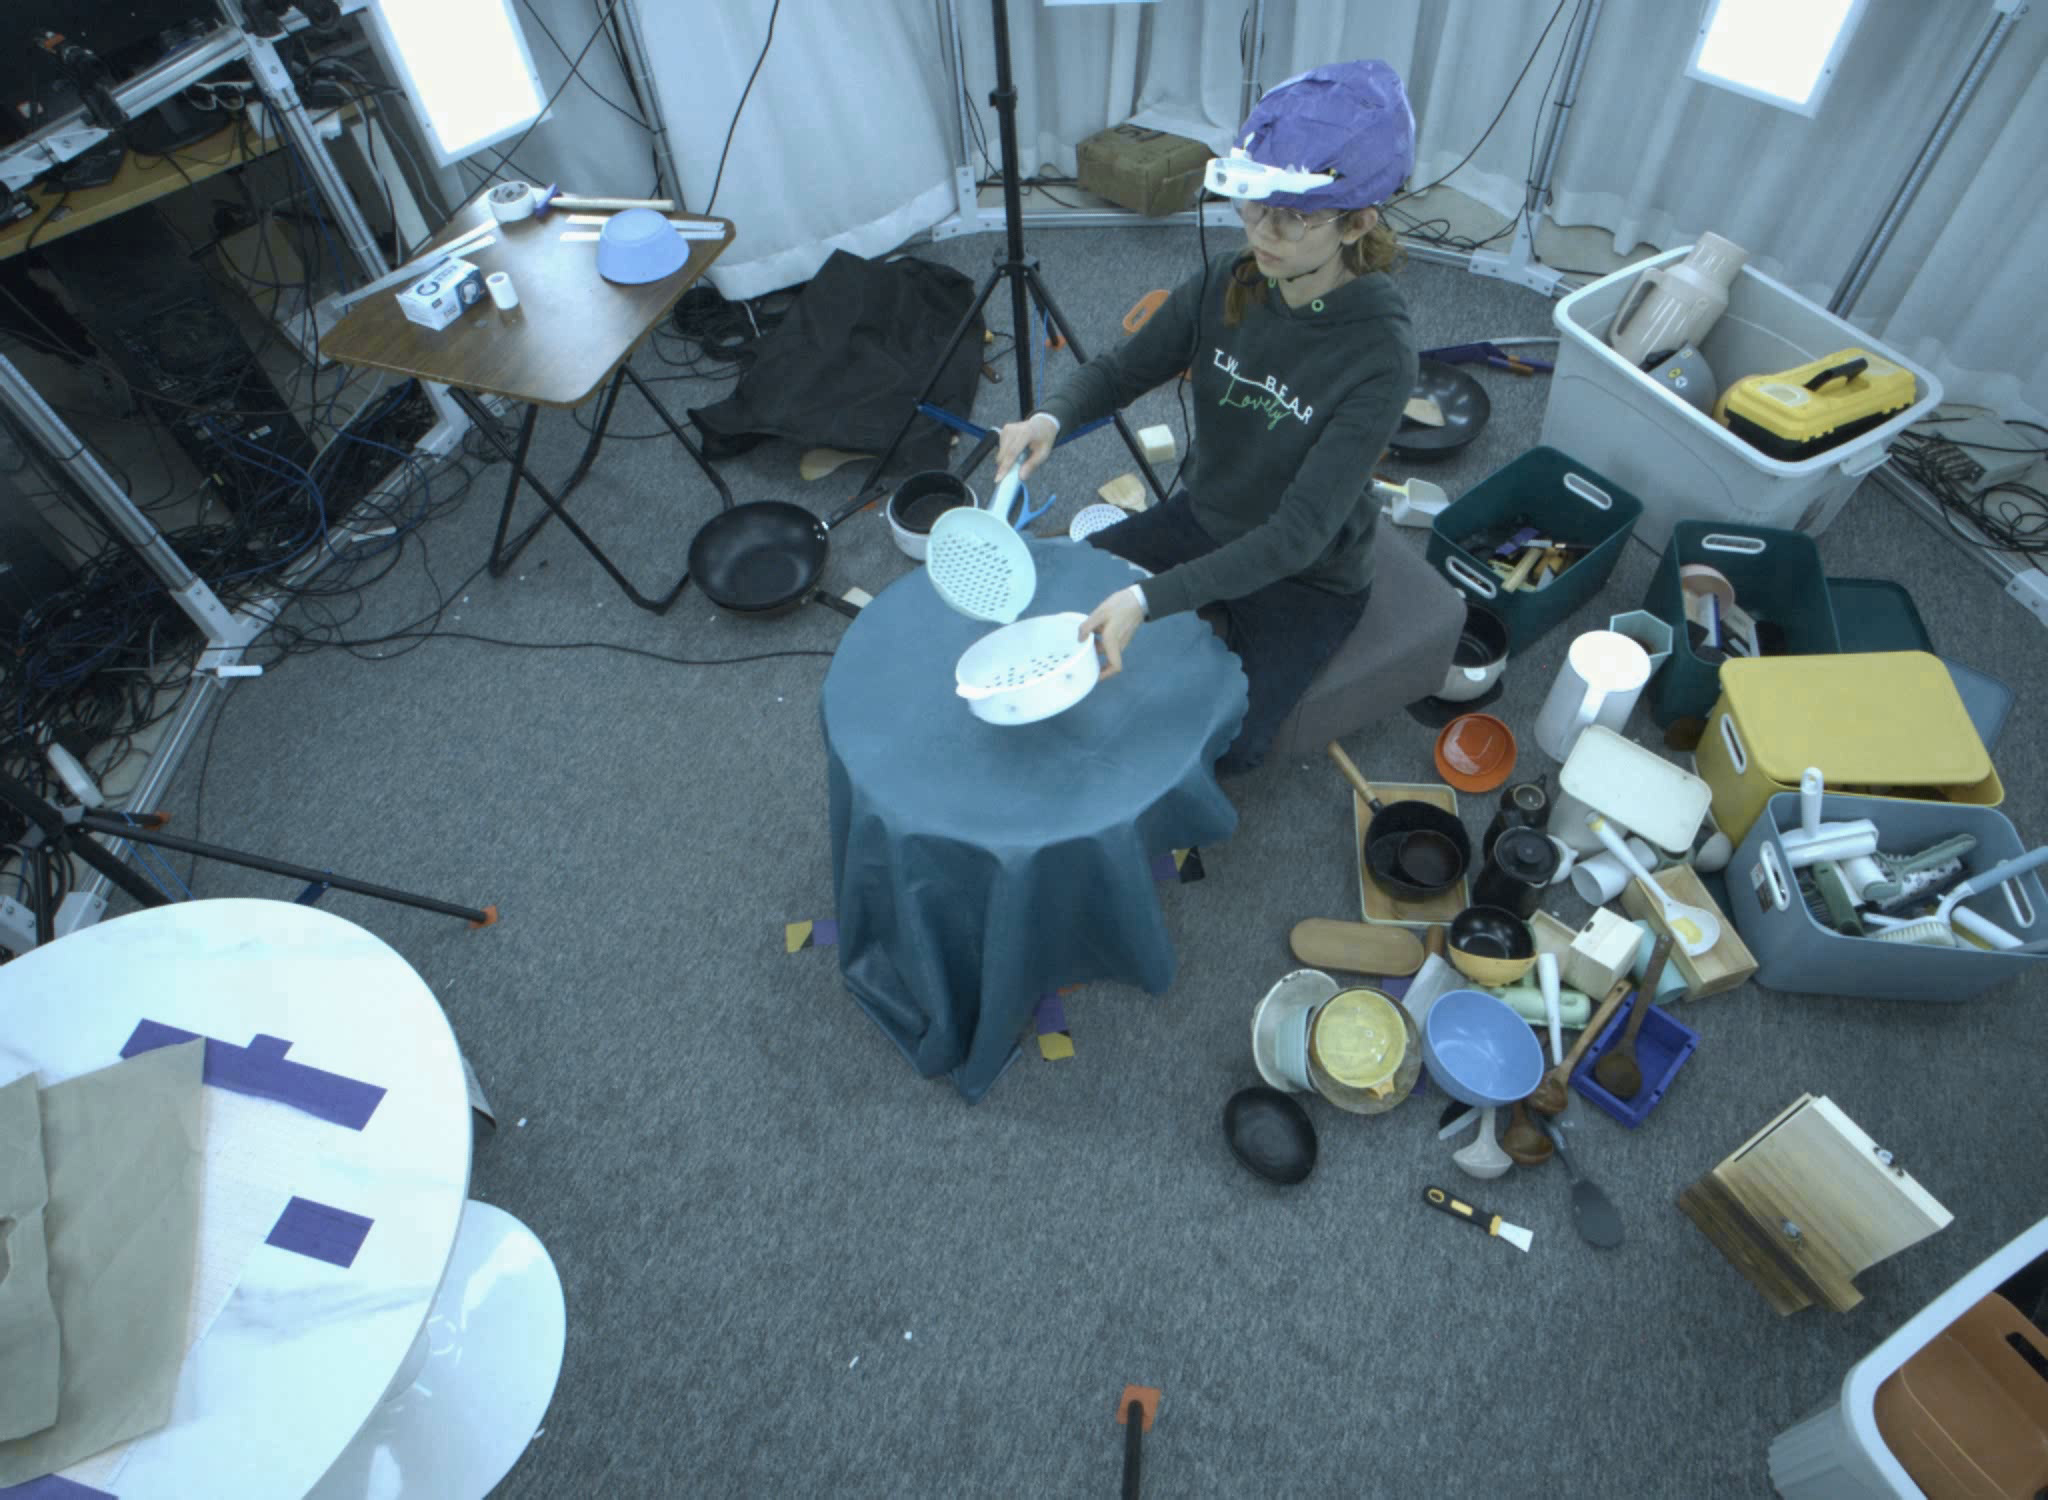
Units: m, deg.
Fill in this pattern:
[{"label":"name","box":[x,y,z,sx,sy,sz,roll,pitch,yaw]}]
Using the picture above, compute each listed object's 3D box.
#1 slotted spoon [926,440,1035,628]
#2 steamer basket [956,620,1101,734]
[{"label":"slotted spoon","box":[-0.041,-0.325,1.738,0.172,0.074,0.358,32,62,-24]},{"label":"steamer basket","box":[0.009,-0.101,1.734,0.197,0.070,0.232,17,46,43]}]
